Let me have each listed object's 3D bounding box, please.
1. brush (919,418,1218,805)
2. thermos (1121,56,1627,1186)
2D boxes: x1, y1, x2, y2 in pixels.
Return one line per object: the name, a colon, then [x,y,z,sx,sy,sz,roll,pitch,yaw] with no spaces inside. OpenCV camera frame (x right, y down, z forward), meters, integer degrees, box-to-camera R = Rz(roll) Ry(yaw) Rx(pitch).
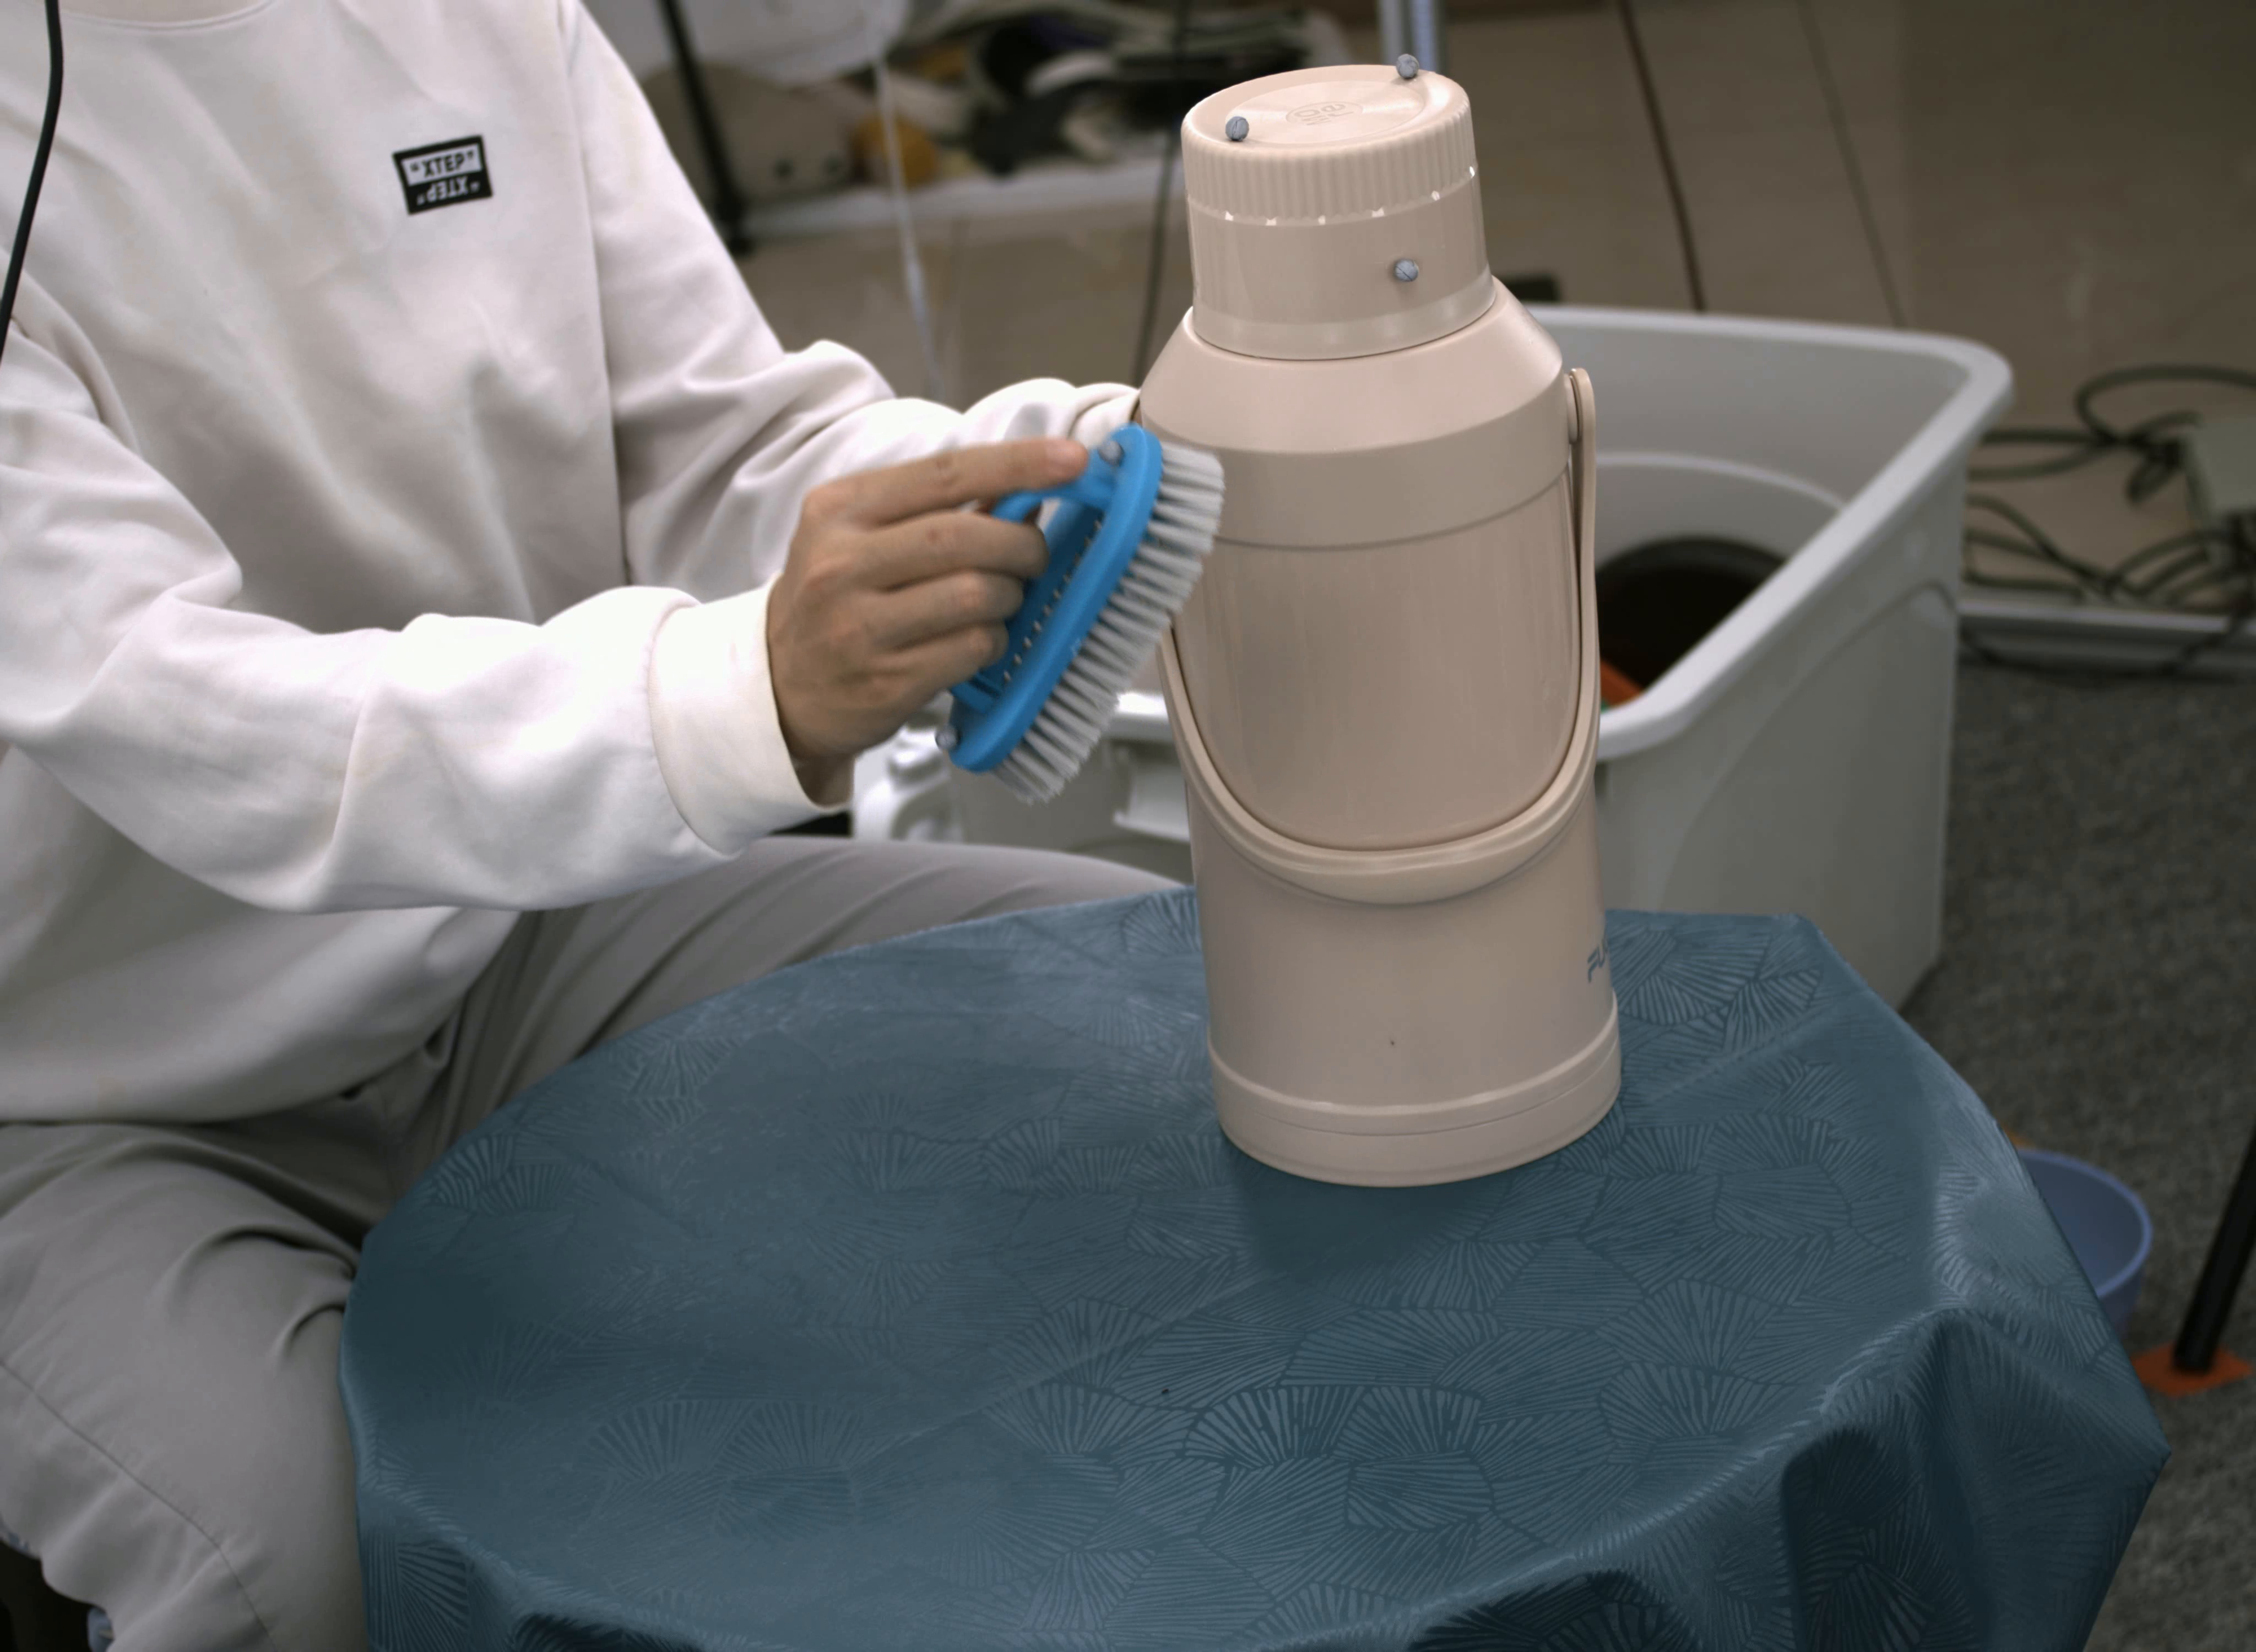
brush: [-0.030,-0.077,1.958,0.064,0.143,0.083,21,25,-26]
thermos: [0.093,-0.083,2.123,0.175,0.413,0.204,-9,25,-2]
